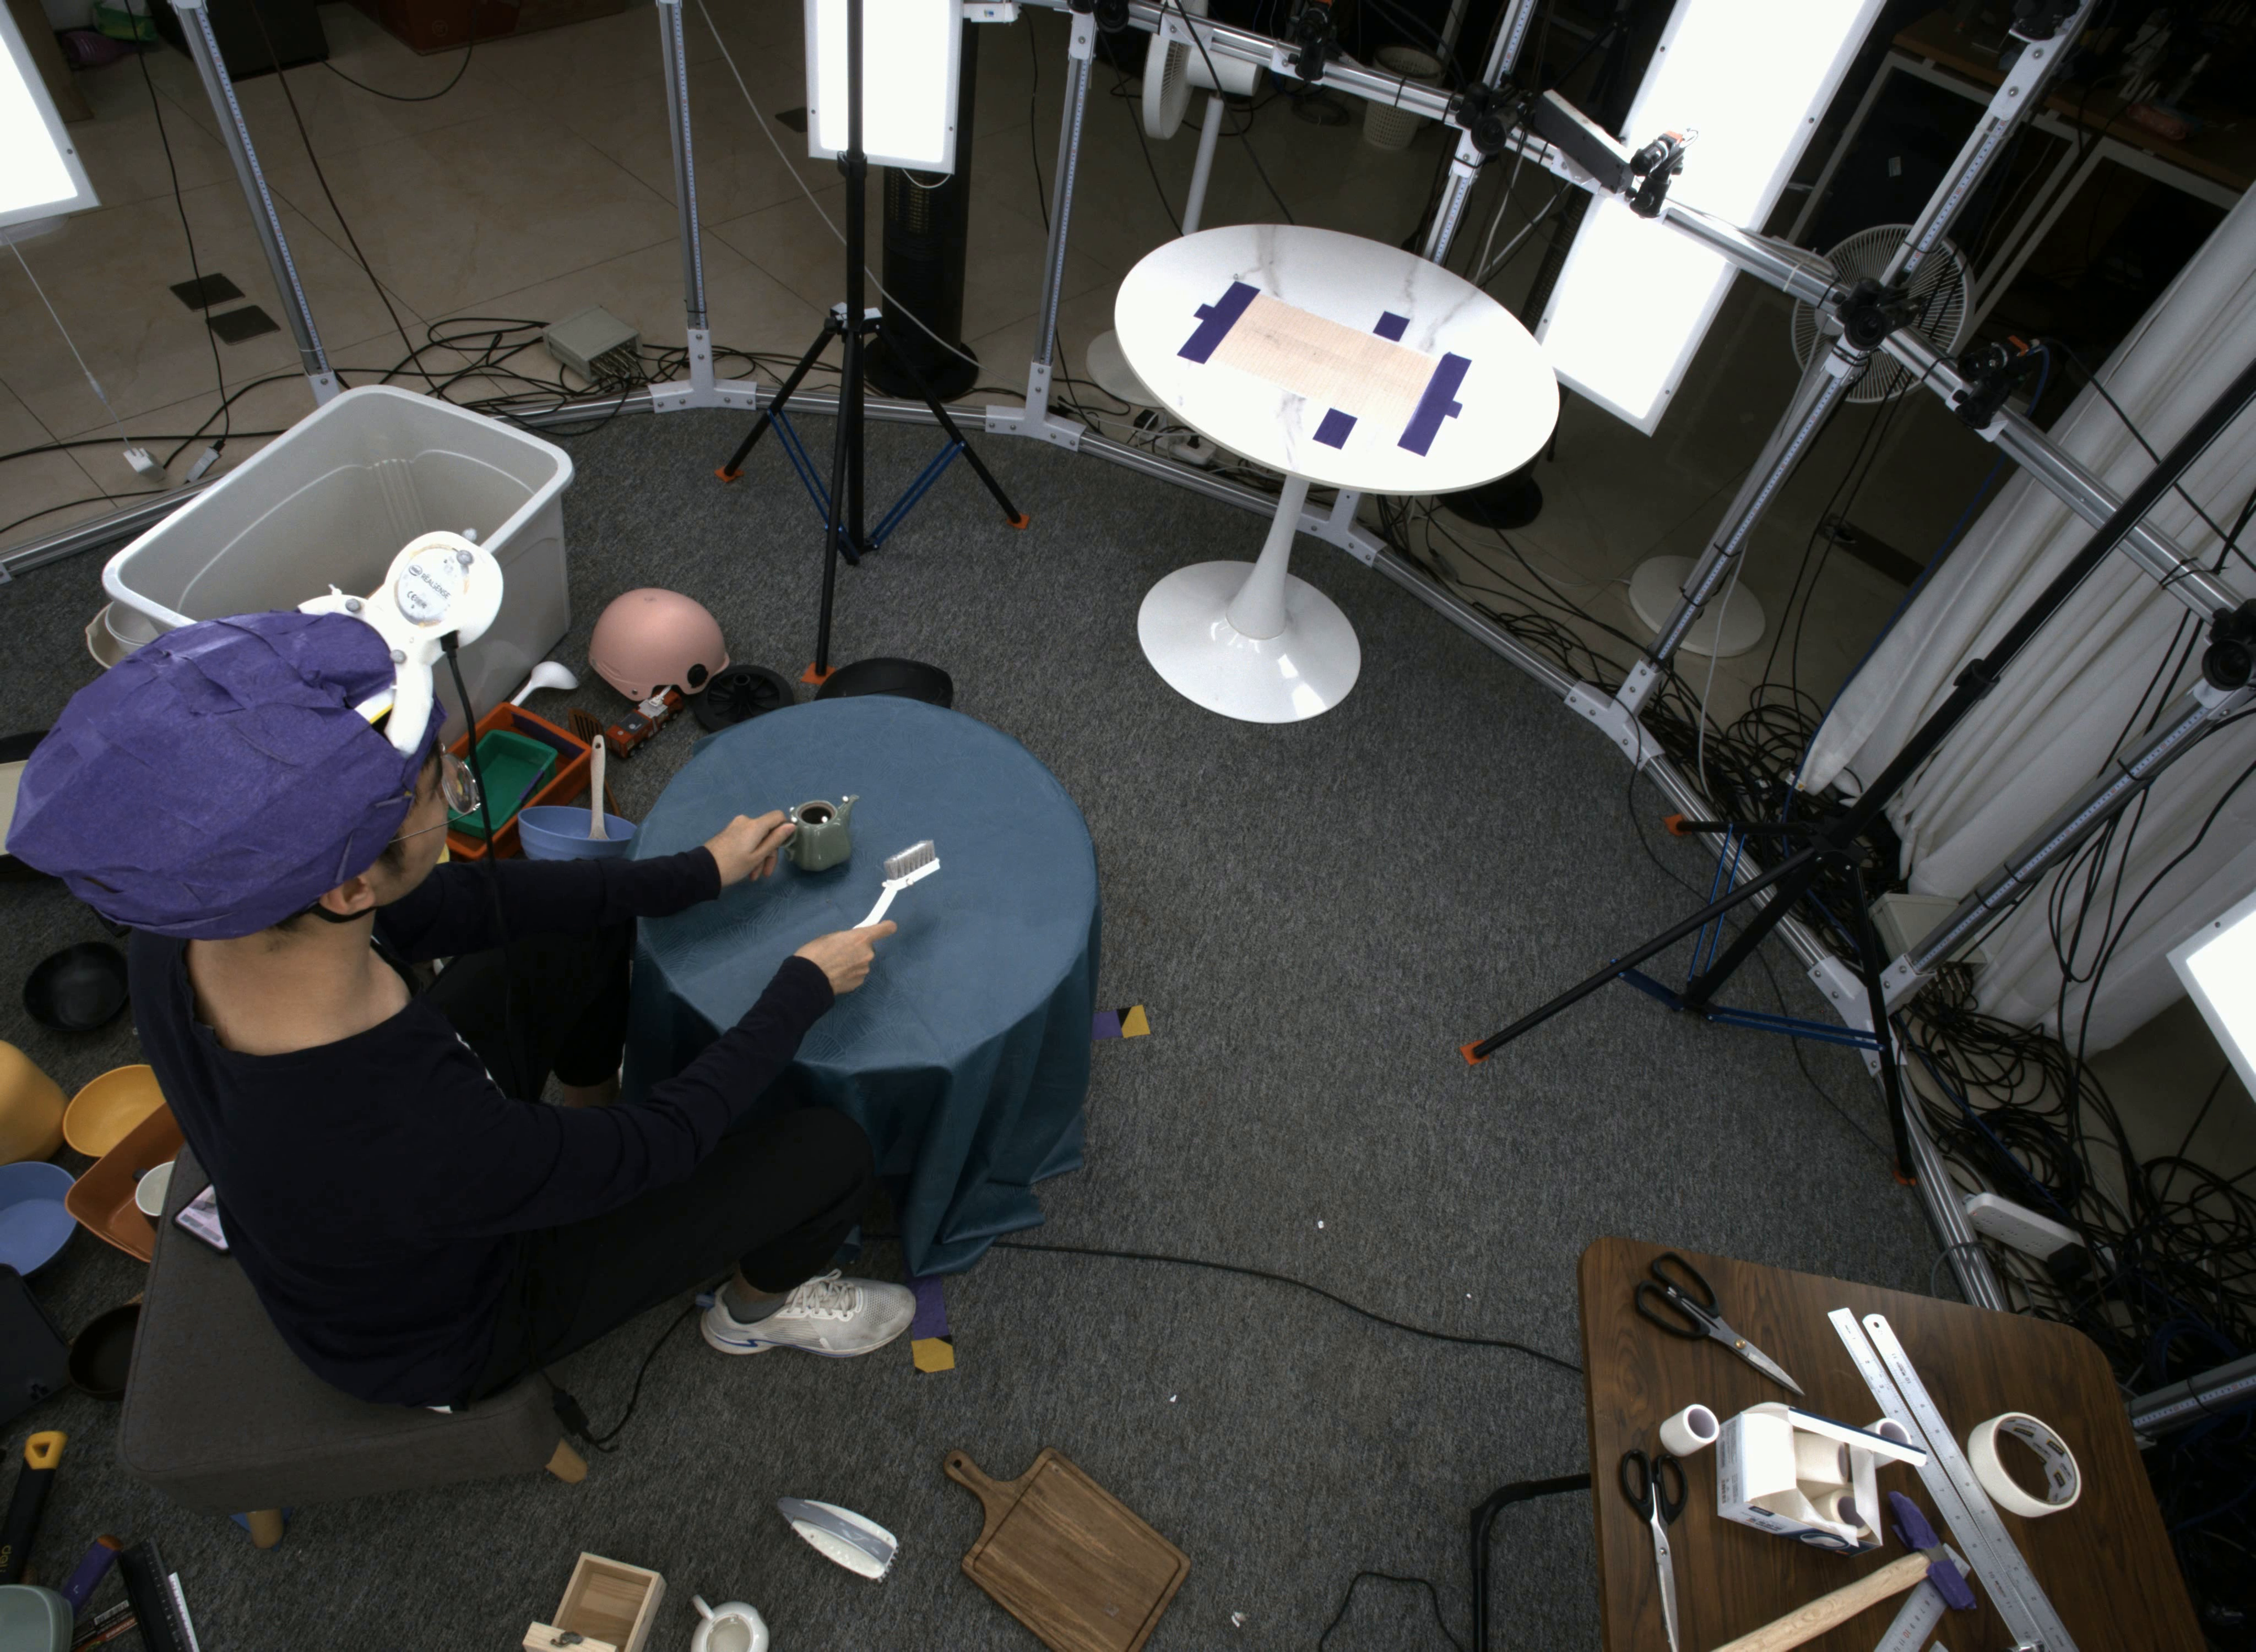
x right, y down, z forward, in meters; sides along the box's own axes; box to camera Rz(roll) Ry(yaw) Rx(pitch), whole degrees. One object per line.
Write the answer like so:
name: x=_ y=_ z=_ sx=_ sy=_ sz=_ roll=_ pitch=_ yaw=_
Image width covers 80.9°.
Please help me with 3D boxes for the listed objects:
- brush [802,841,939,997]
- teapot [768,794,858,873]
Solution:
brush: x=-0.320 y=0.104 z=1.580 sx=0.033 sy=0.052 sz=0.243 roll=13 pitch=51 yaw=45
teapot: x=-0.401 y=0.010 z=1.668 sx=0.077 sy=0.077 sz=0.133 roll=33 pitch=45 yaw=32
